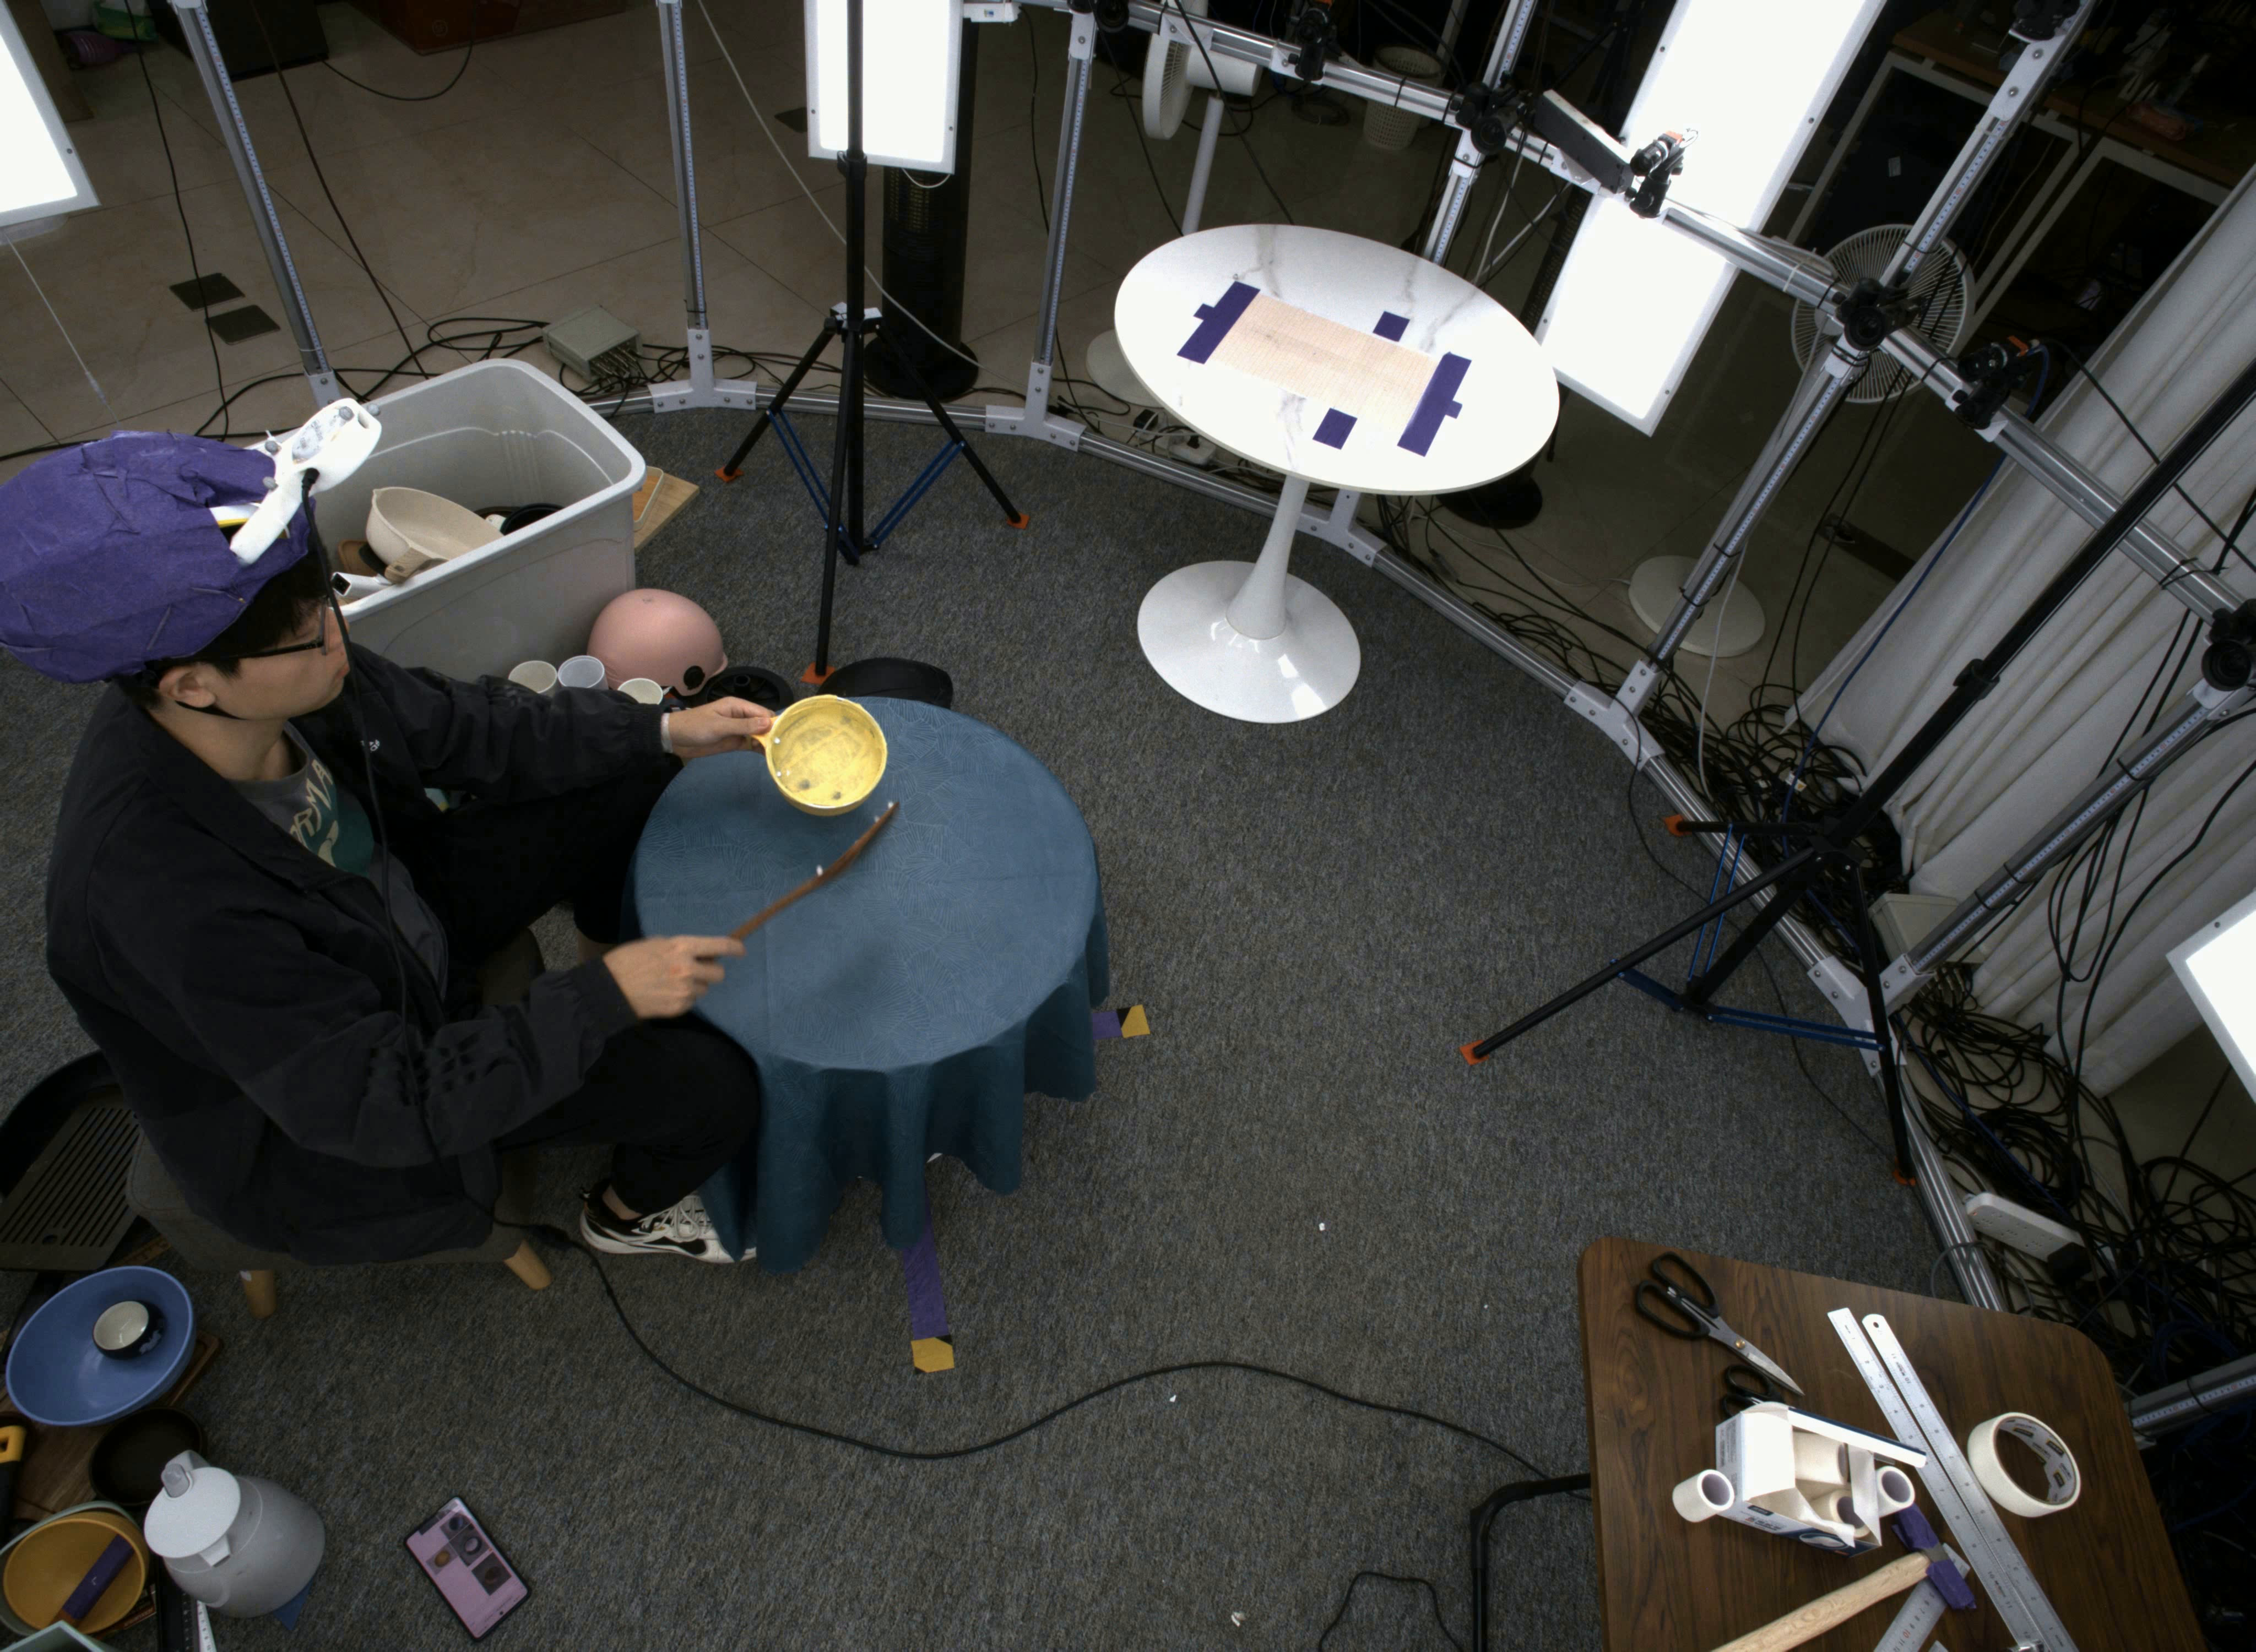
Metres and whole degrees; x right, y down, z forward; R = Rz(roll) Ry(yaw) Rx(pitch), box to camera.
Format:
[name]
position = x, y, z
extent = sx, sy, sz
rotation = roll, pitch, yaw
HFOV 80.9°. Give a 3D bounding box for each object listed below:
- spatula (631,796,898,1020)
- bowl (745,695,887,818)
[spatula]
position = -0.408, 0.091, 1.472
extent = 0.386, 0.084, 0.024
rotation = -39, 99, -17
[bowl]
position = -0.404, -0.091, 1.675
extent = 0.180, 0.074, 0.152
rotation = 16, 70, -12
